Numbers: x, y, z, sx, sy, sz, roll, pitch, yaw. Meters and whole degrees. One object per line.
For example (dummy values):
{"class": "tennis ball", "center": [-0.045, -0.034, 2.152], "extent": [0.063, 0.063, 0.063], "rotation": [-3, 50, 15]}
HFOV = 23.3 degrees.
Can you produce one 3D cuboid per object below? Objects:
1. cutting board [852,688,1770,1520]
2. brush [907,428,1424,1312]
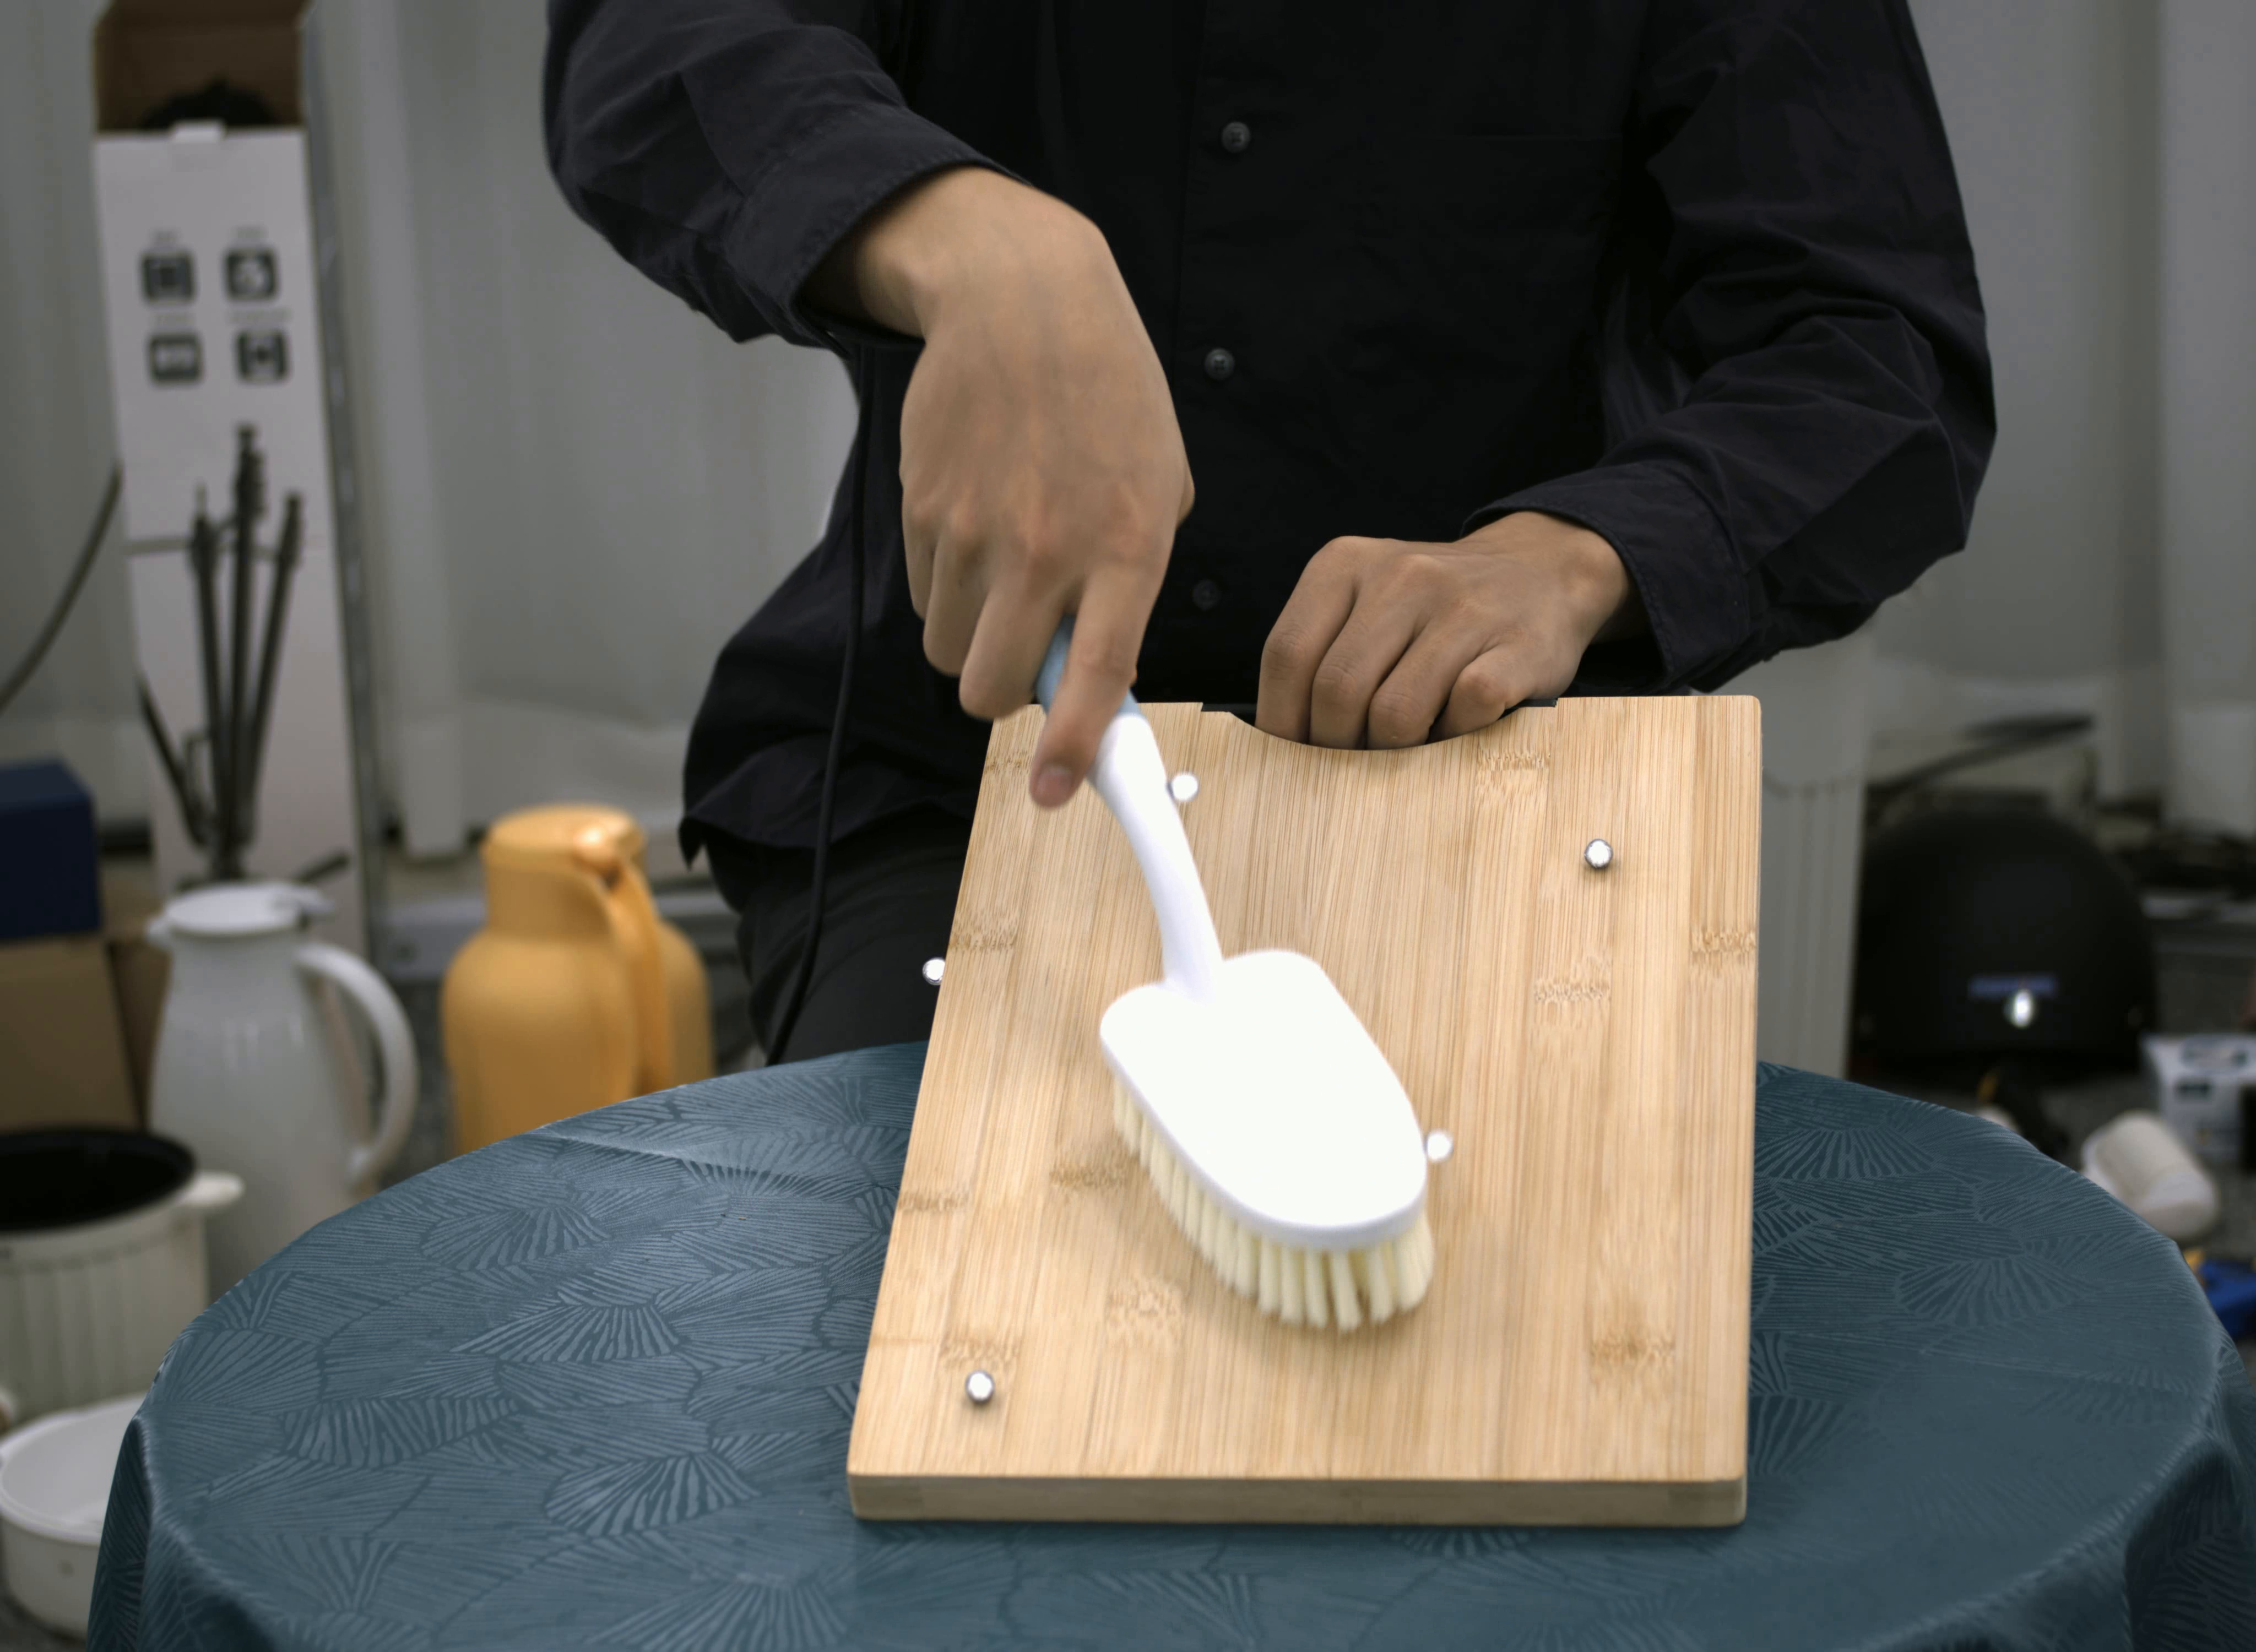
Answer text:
{"class": "cutting board", "center": [0.063, 0.072, 1.581], "extent": [0.250, 0.023, 0.353], "rotation": [-1, 38, 6]}
{"class": "brush", "center": [0.007, 0.016, 1.580], "extent": [0.082, 0.084, 0.330], "rotation": [13, 36, -41]}
